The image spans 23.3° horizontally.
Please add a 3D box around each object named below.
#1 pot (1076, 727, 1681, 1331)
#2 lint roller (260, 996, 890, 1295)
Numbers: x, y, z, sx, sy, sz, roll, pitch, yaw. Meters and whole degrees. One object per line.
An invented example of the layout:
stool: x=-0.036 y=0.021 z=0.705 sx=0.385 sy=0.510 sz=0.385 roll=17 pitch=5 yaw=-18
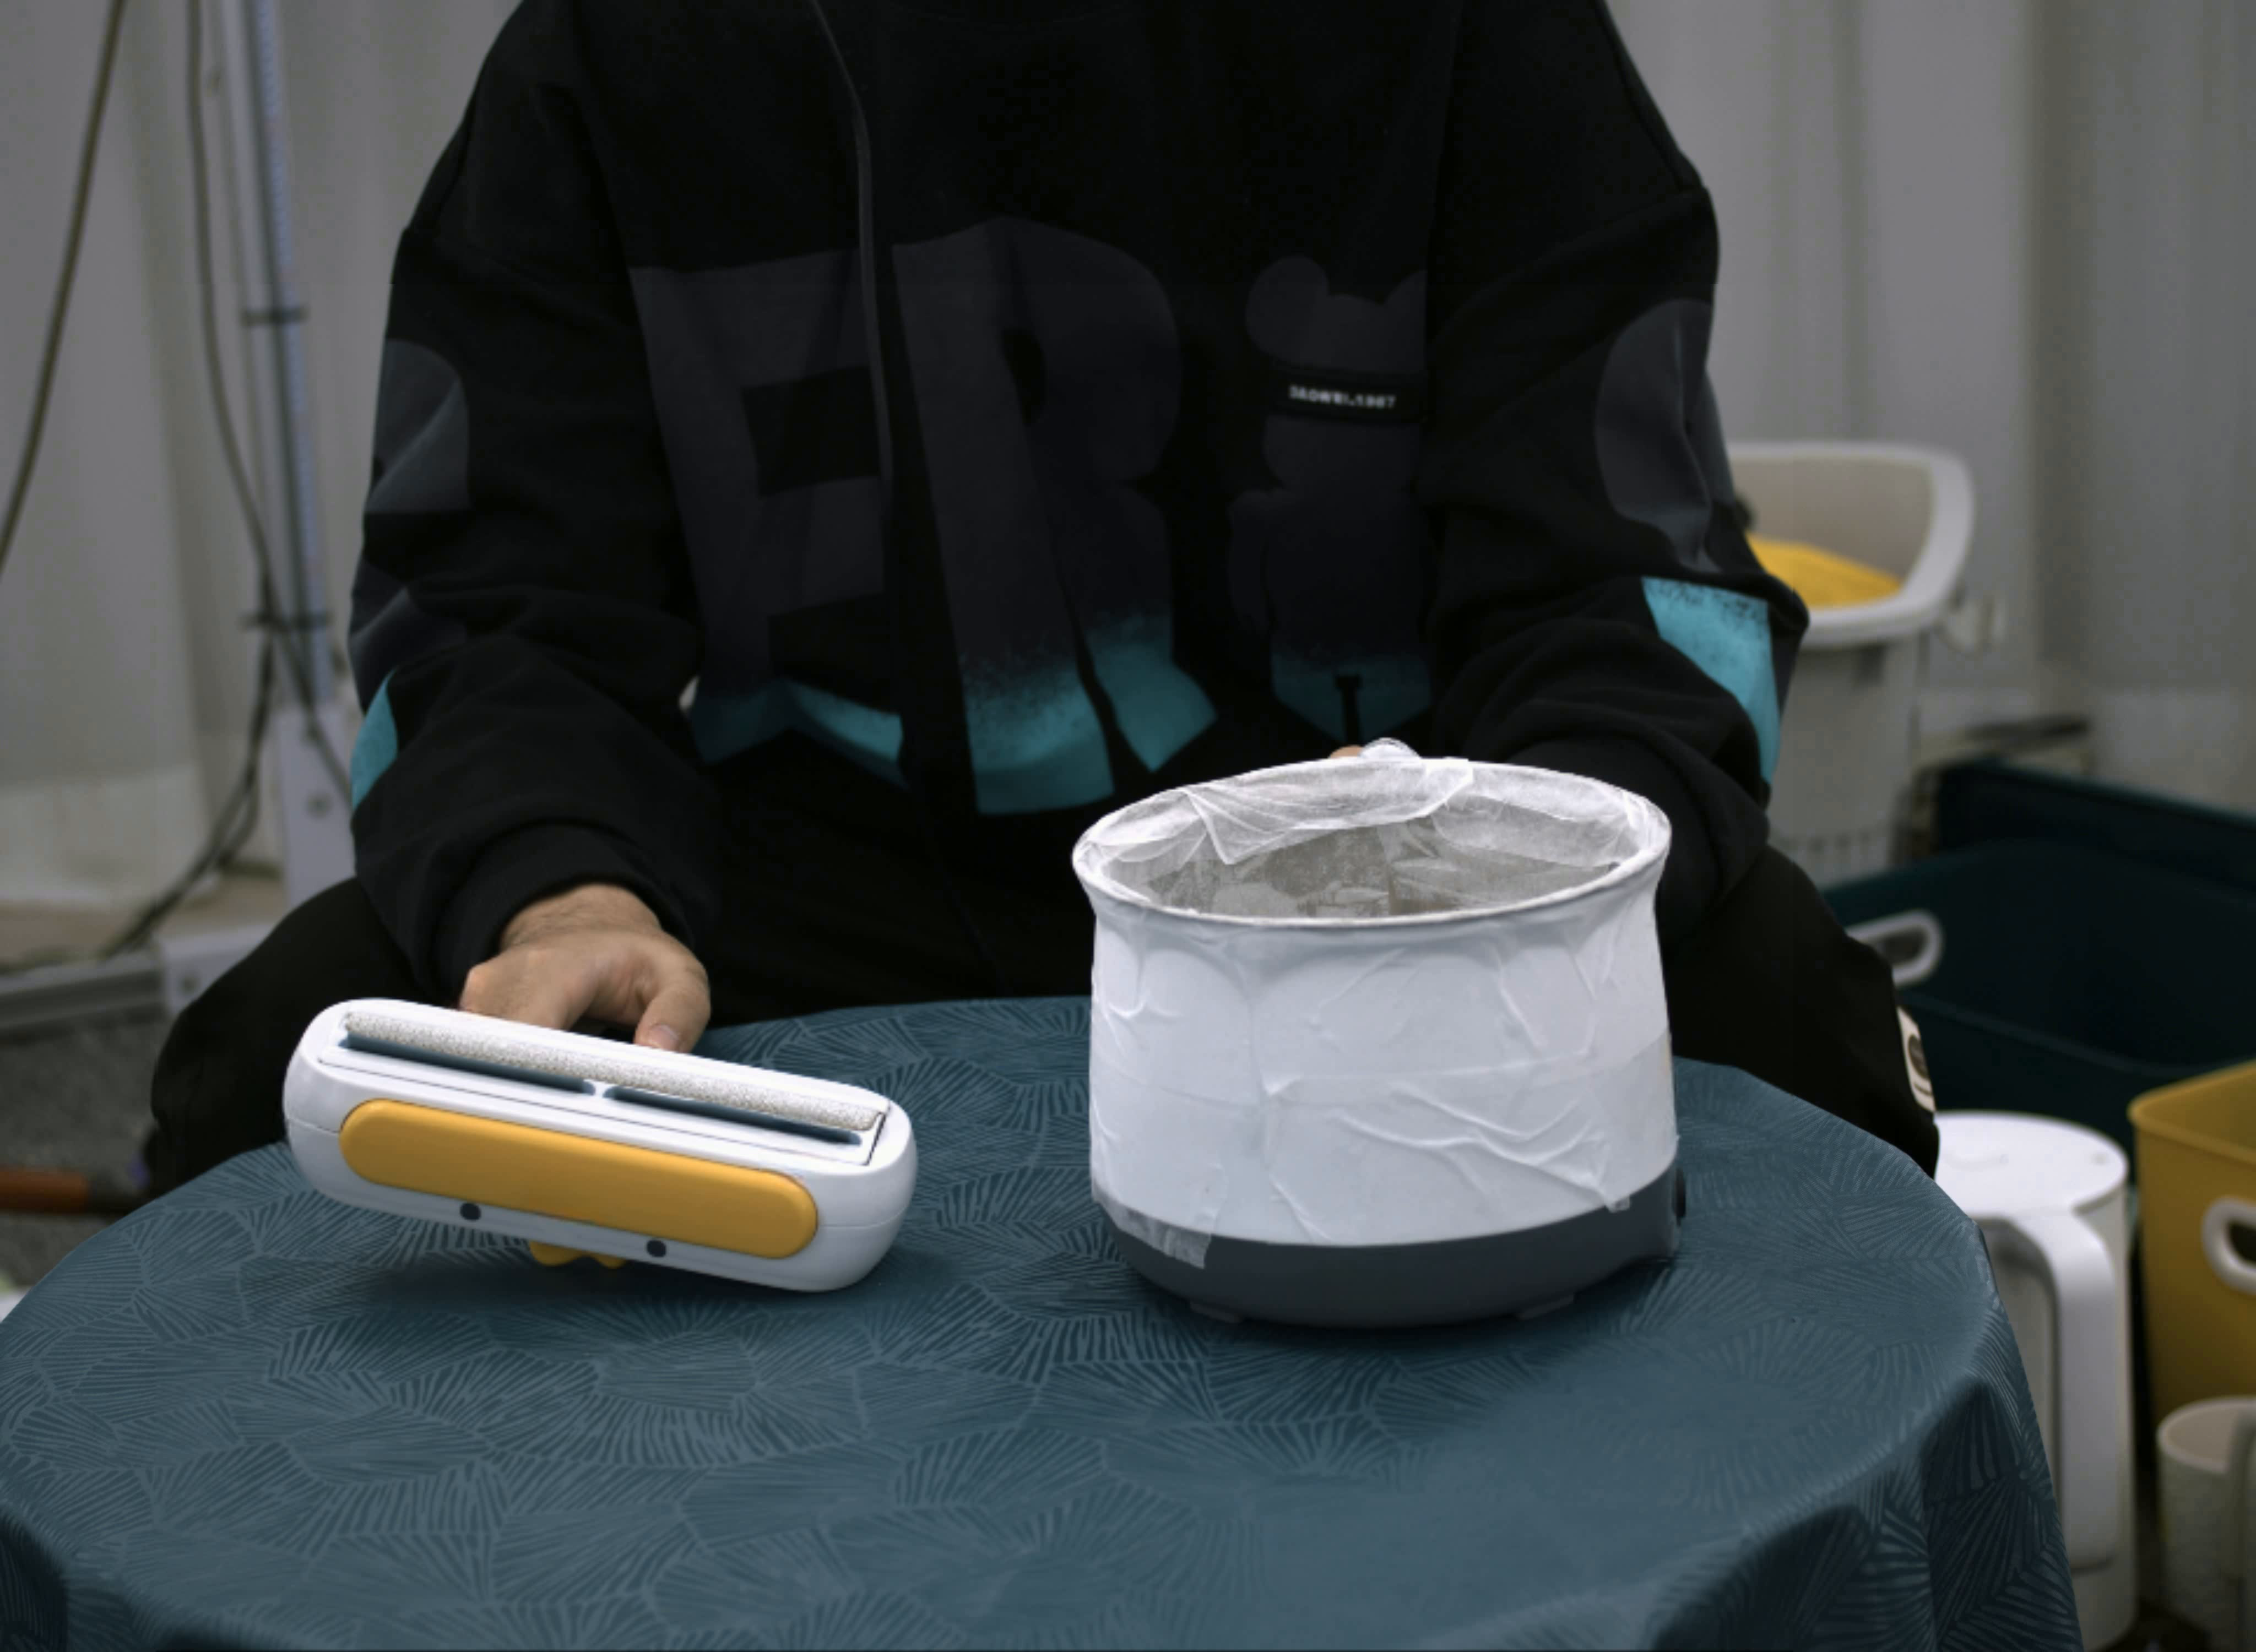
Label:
pot: x=0.077 y=0.055 z=1.649 sx=0.178 sy=0.136 sz=0.235 roll=0 pitch=16 yaw=5
lint roller: x=-0.158 y=0.089 z=1.713 sx=0.192 sy=0.074 sz=0.193 roll=7 pitch=14 yaw=8
